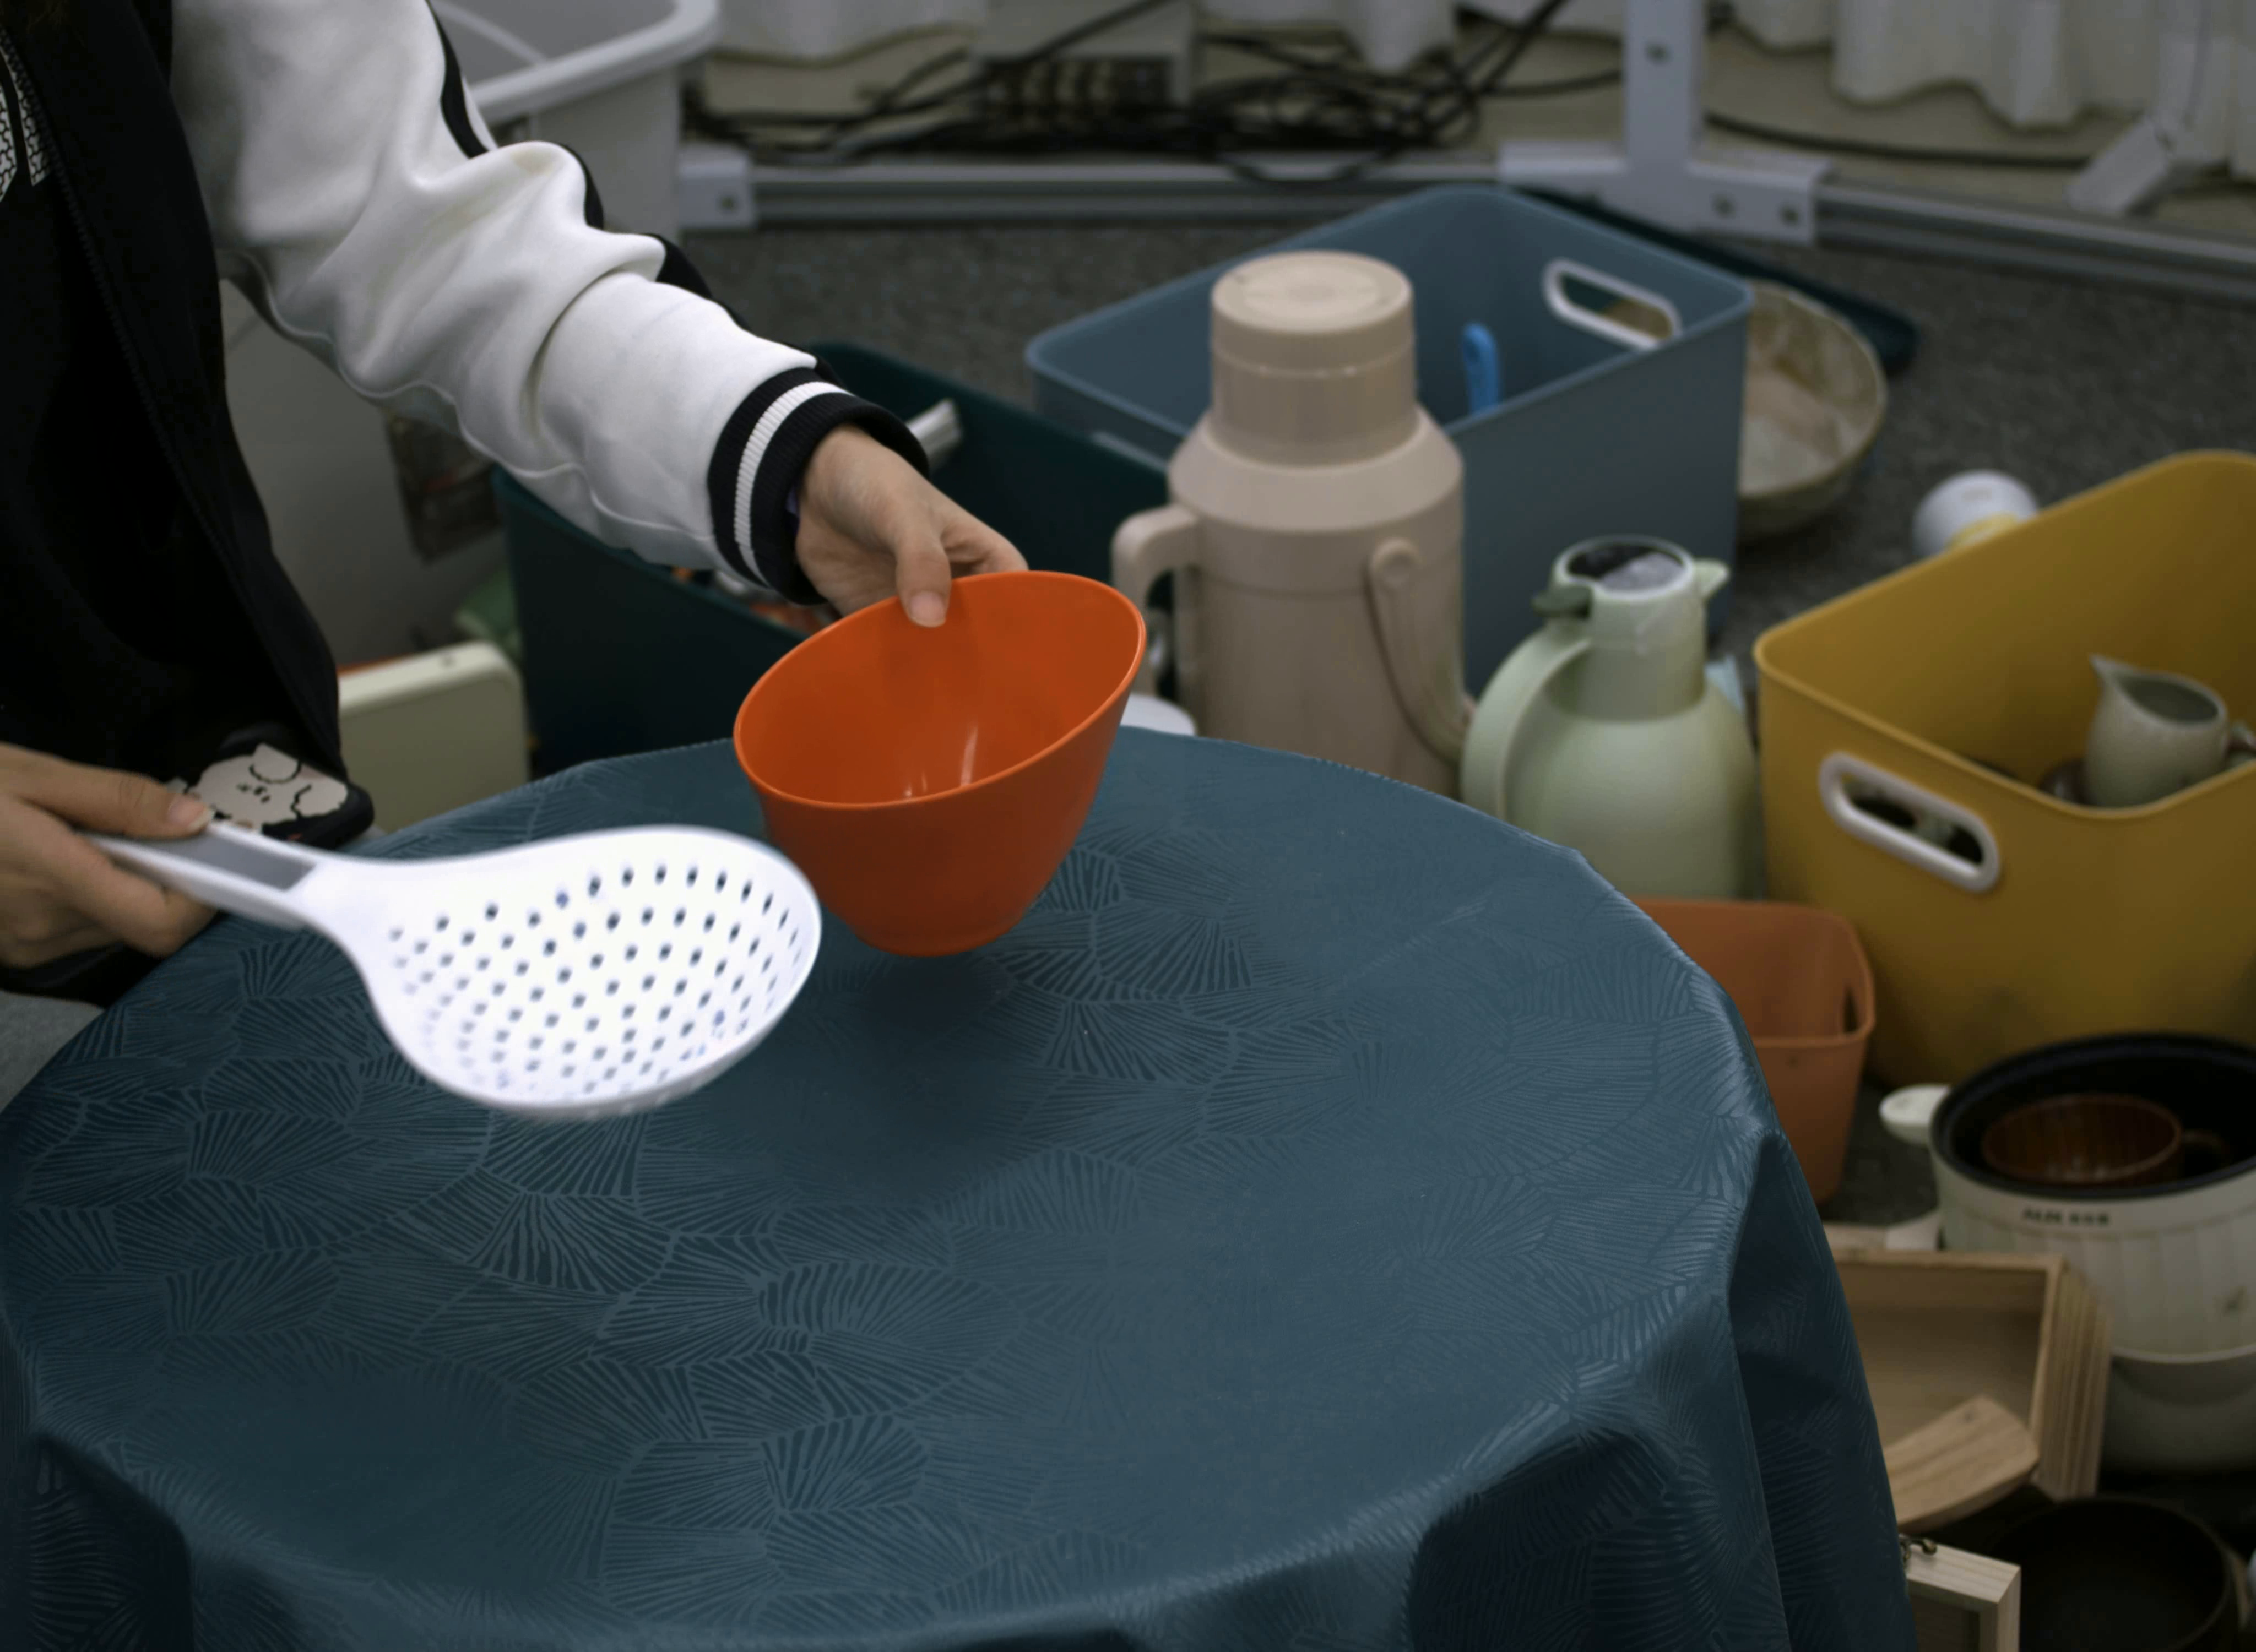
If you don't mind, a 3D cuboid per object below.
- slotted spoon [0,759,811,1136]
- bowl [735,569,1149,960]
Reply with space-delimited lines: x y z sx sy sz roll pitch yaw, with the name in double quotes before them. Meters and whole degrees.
"slotted spoon" -0.252 0.028 1.795 0.348 0.045 0.138 20 43 28
"bowl" -0.060 -0.014 1.958 0.147 0.103 0.150 -5 34 4
